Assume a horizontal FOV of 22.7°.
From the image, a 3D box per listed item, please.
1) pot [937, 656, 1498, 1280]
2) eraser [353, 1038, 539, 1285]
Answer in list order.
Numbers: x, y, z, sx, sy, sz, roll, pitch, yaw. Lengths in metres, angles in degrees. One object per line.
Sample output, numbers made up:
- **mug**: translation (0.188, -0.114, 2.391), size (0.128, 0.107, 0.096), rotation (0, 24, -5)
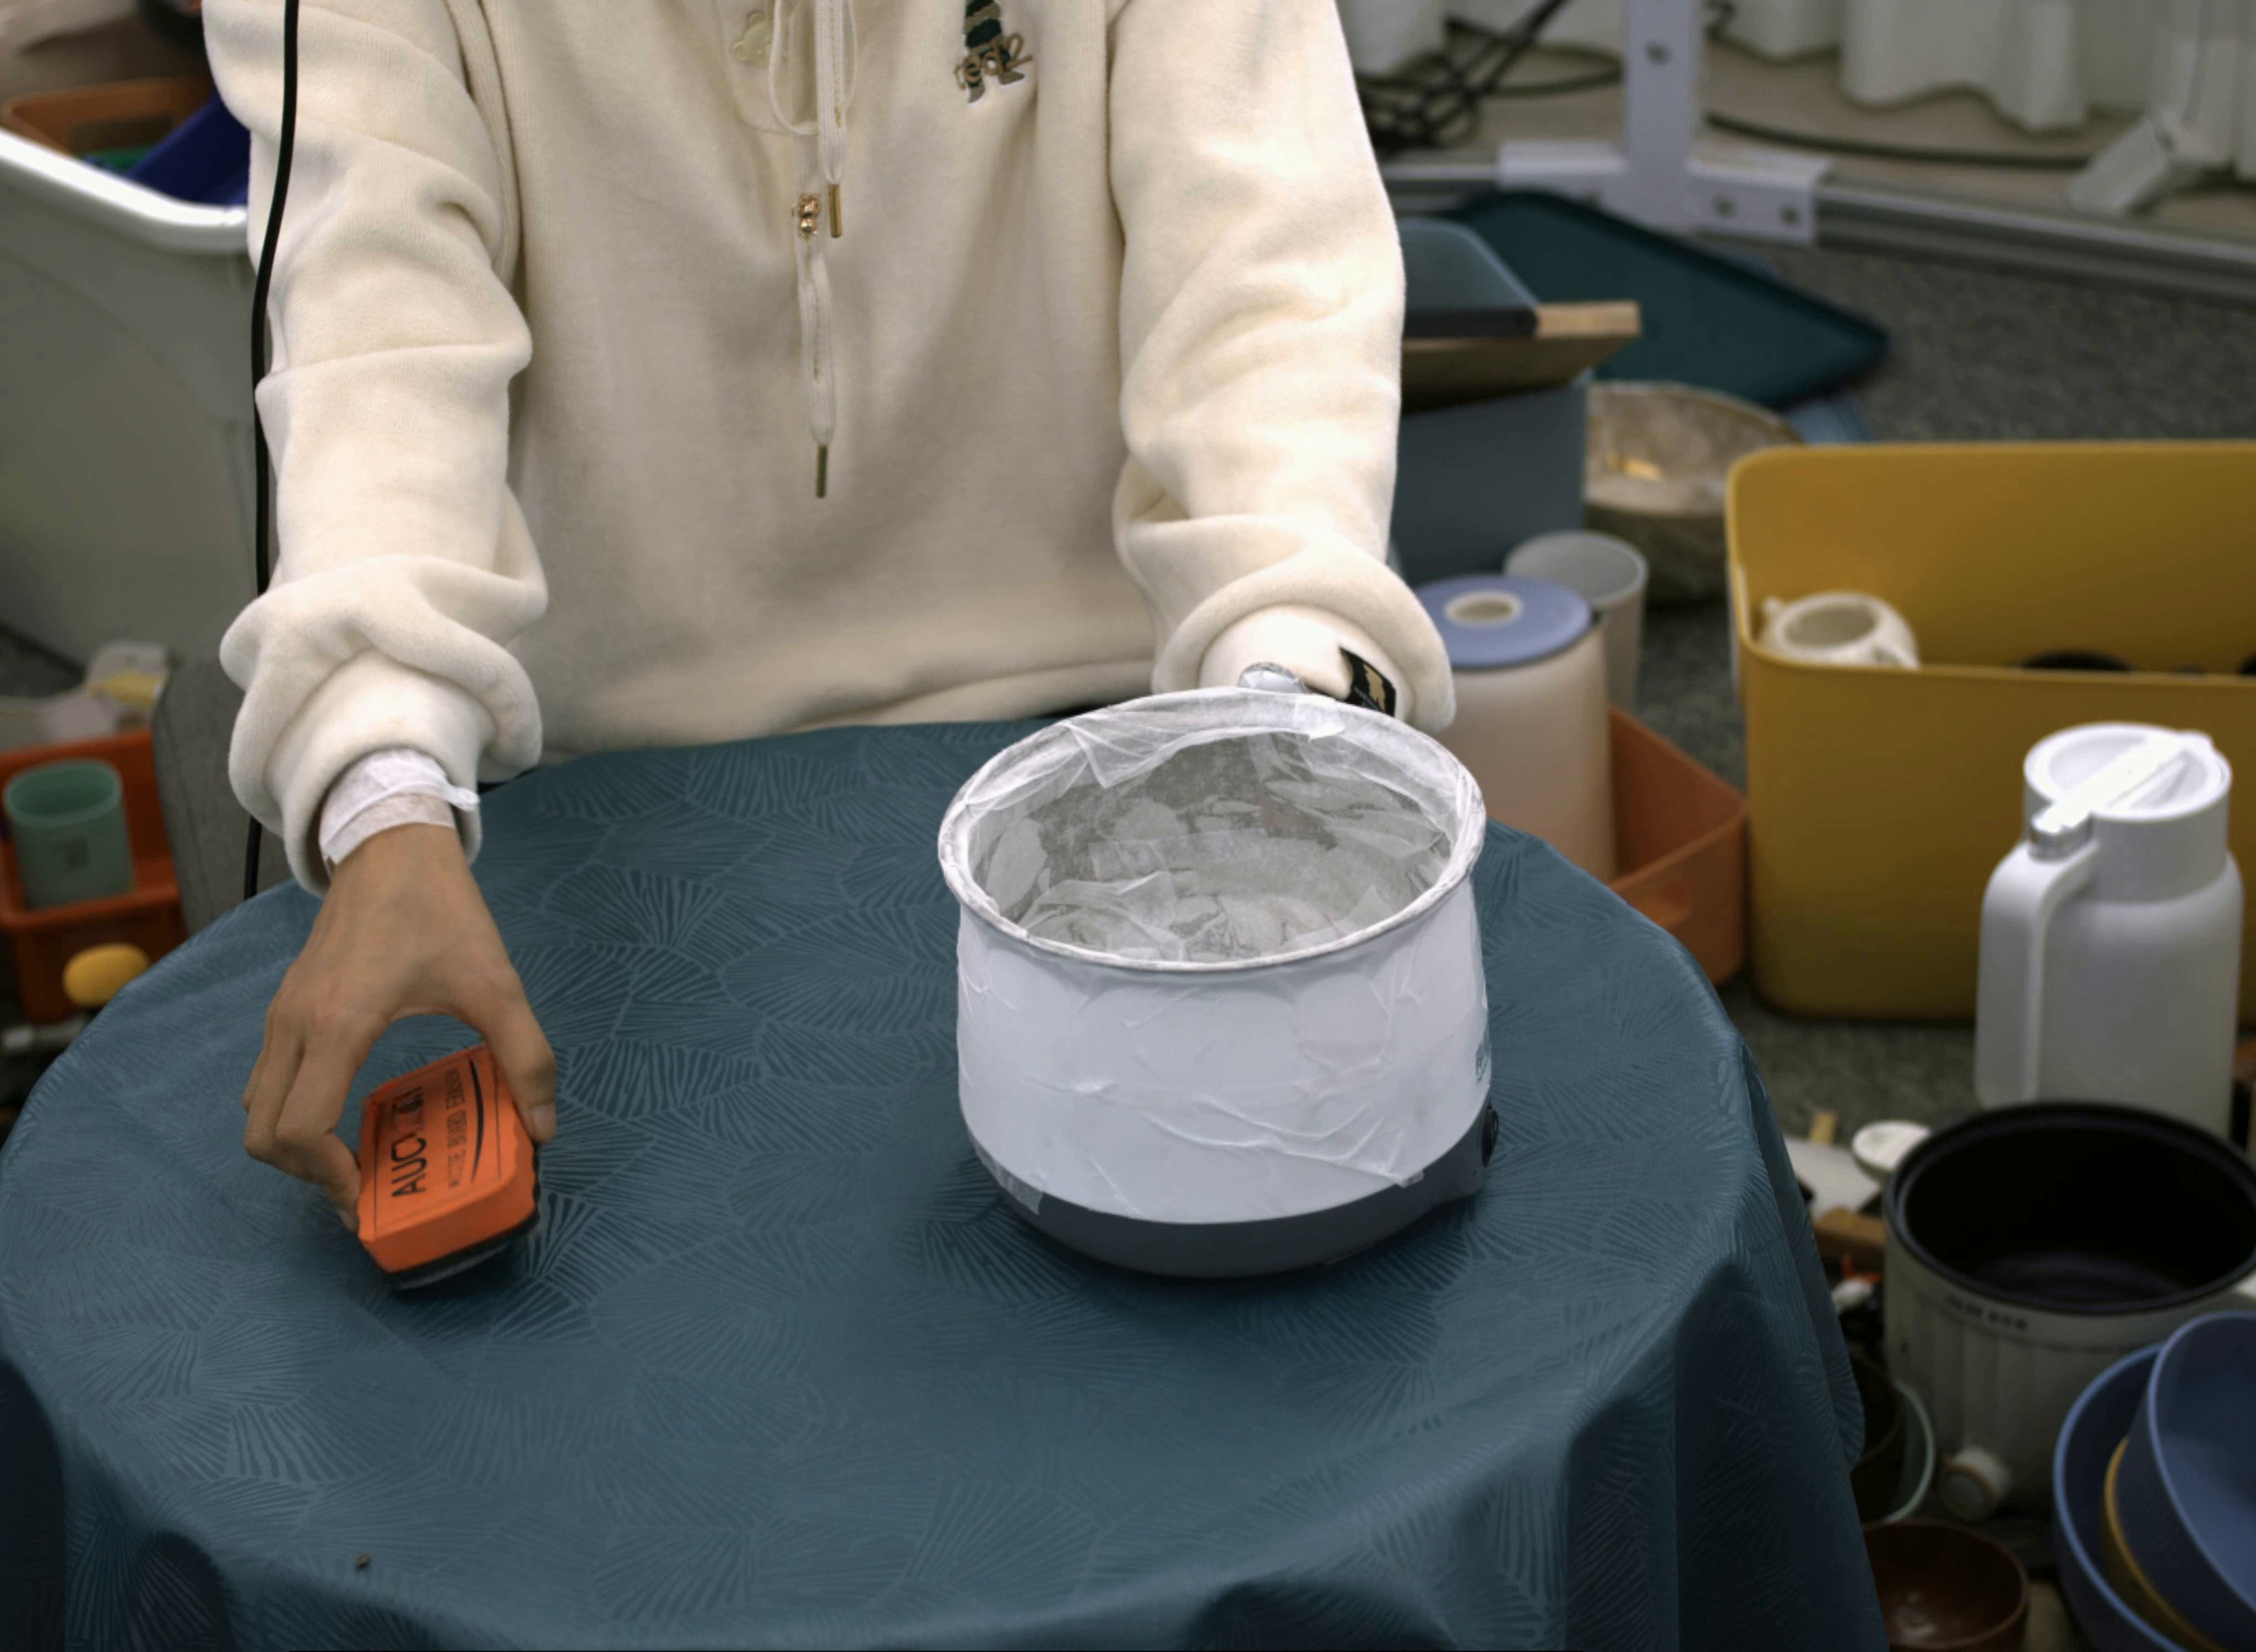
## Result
- **pot**: translation (0.035, 0.039, 1.862), size (0.177, 0.135, 0.238), rotation (2, 30, 10)
- **eraser**: translation (-0.226, 0.111, 1.857), size (0.059, 0.022, 0.109), rotation (-20, 25, 1)
